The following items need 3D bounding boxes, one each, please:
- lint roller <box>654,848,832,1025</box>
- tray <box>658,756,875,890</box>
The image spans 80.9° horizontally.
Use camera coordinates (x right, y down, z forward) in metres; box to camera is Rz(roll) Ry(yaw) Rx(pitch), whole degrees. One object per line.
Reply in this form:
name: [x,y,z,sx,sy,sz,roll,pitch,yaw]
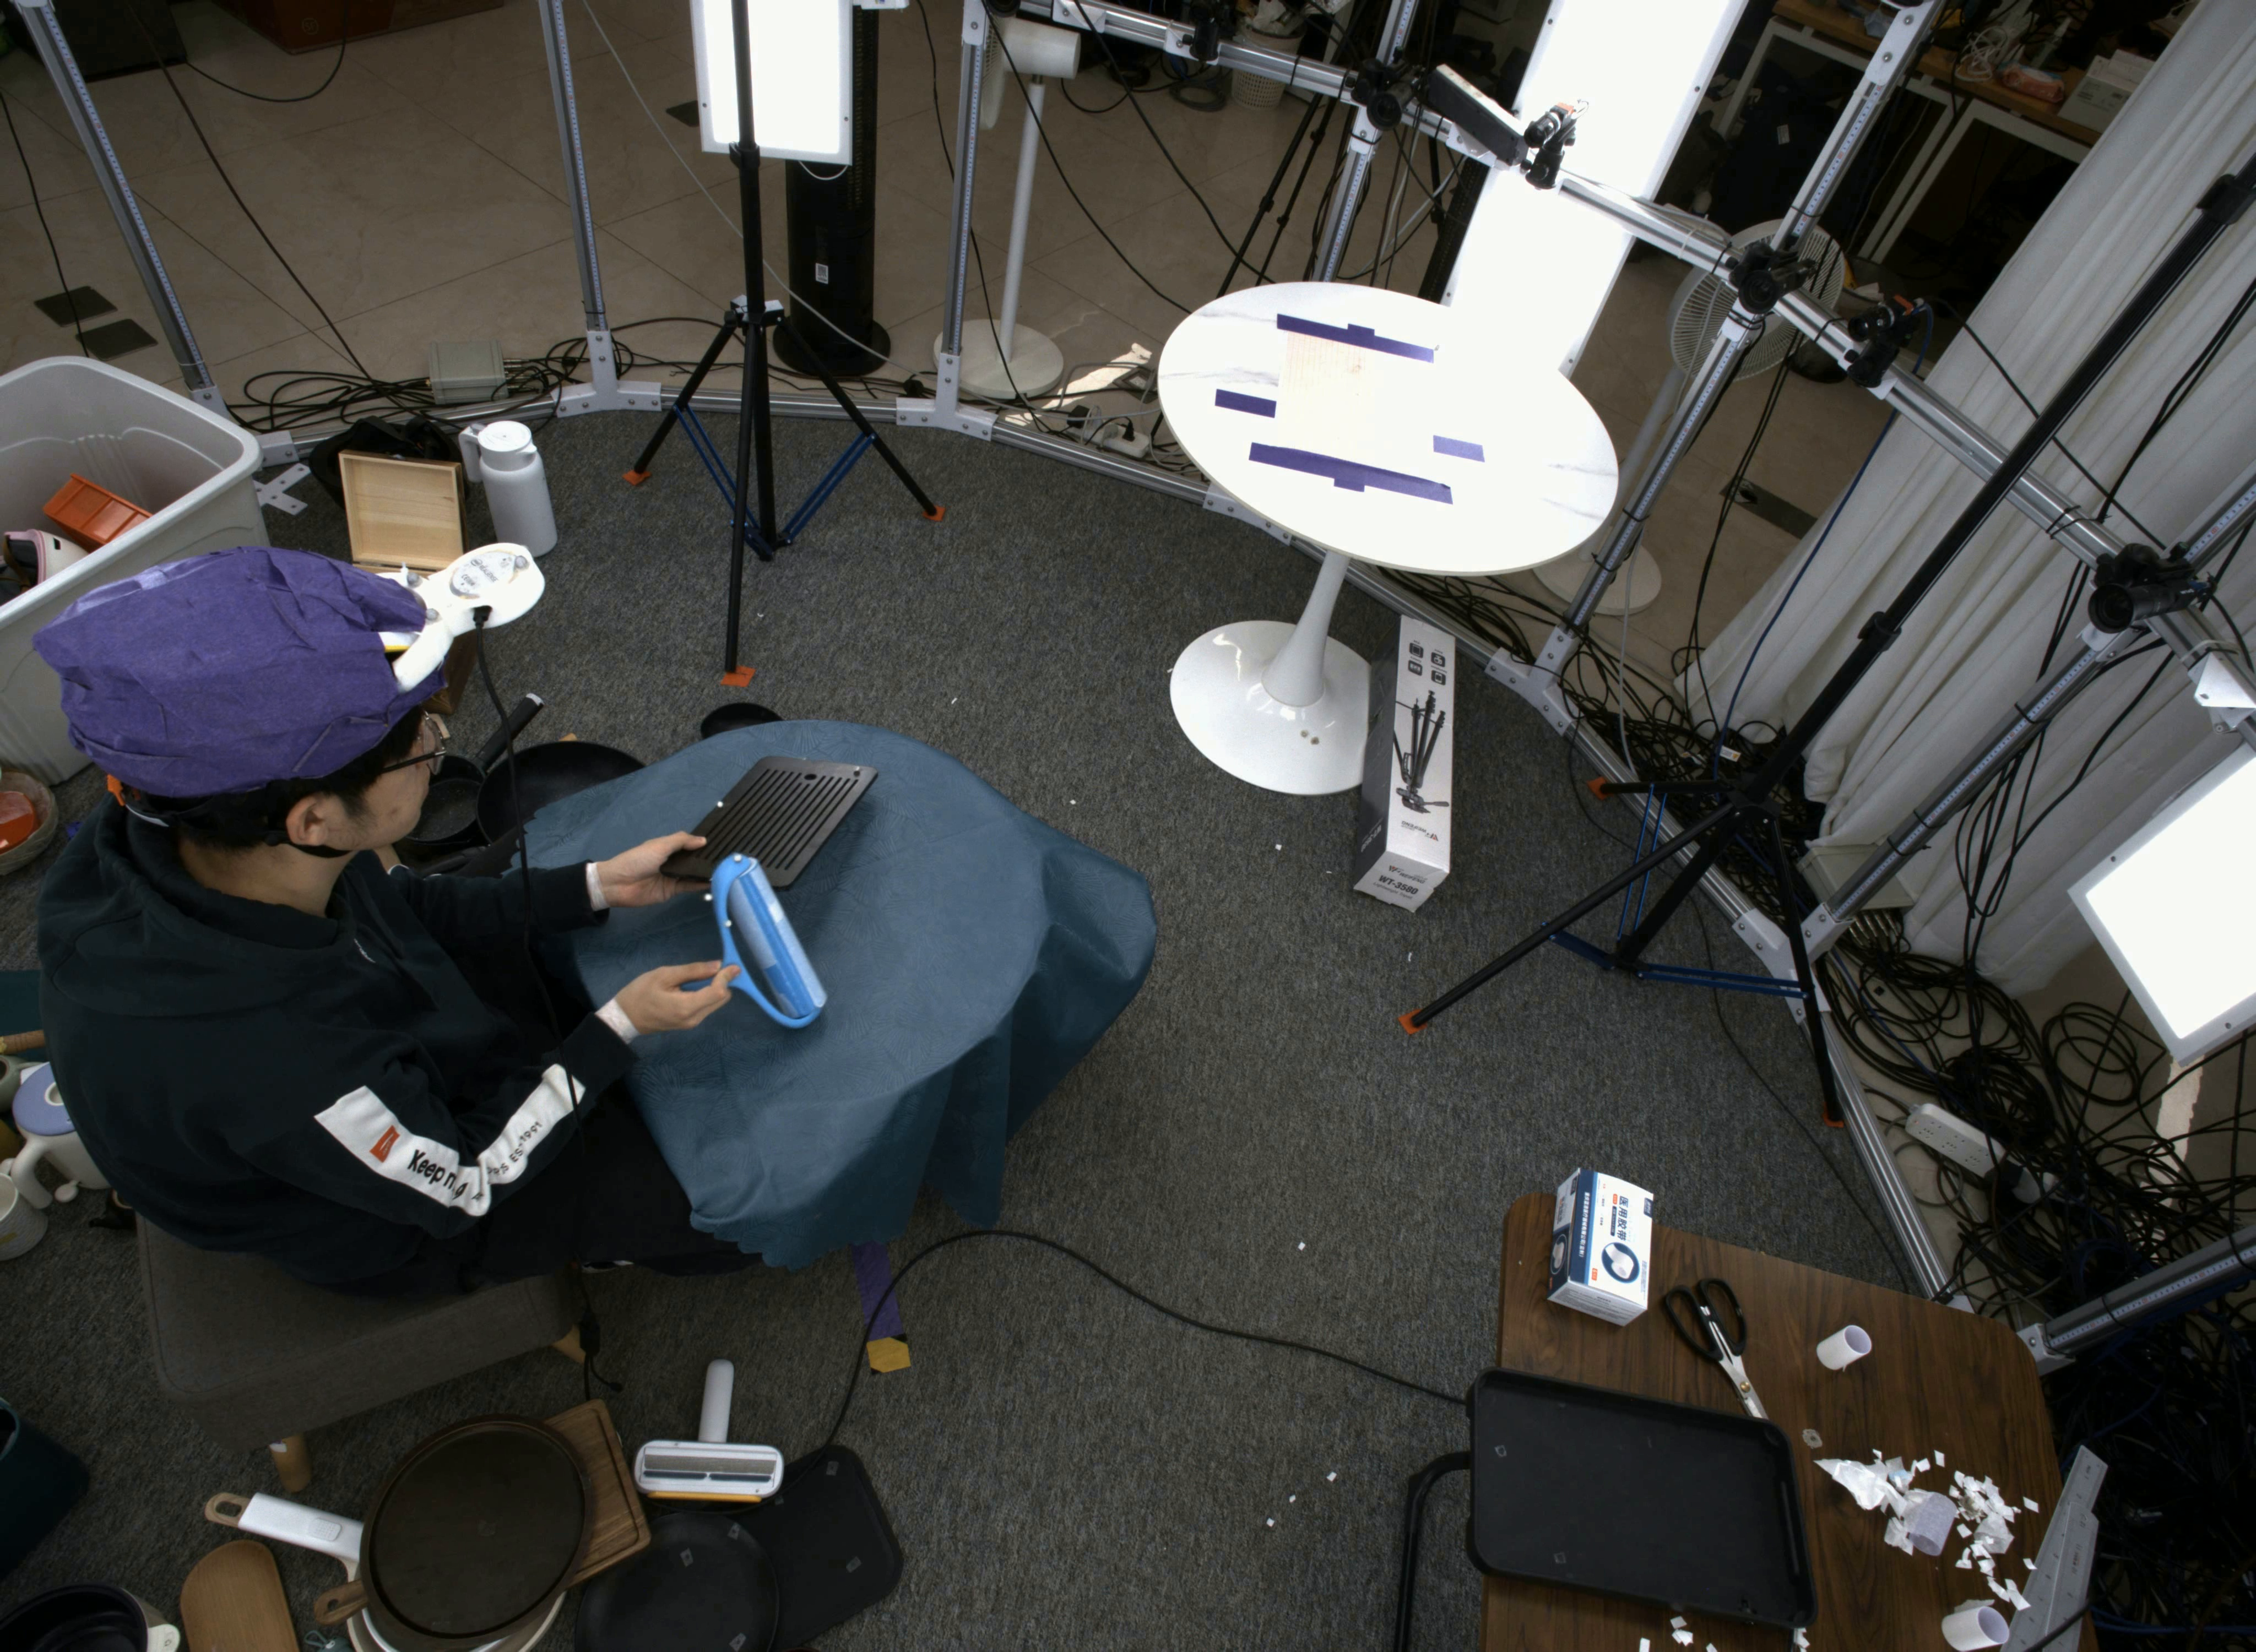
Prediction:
lint roller: [-0.456,0.158,1.483,0.180,0.237,0.065,-35,31,-22]
tray: [-0.450,-0.008,1.640,0.167,0.019,0.302,7,31,8]
